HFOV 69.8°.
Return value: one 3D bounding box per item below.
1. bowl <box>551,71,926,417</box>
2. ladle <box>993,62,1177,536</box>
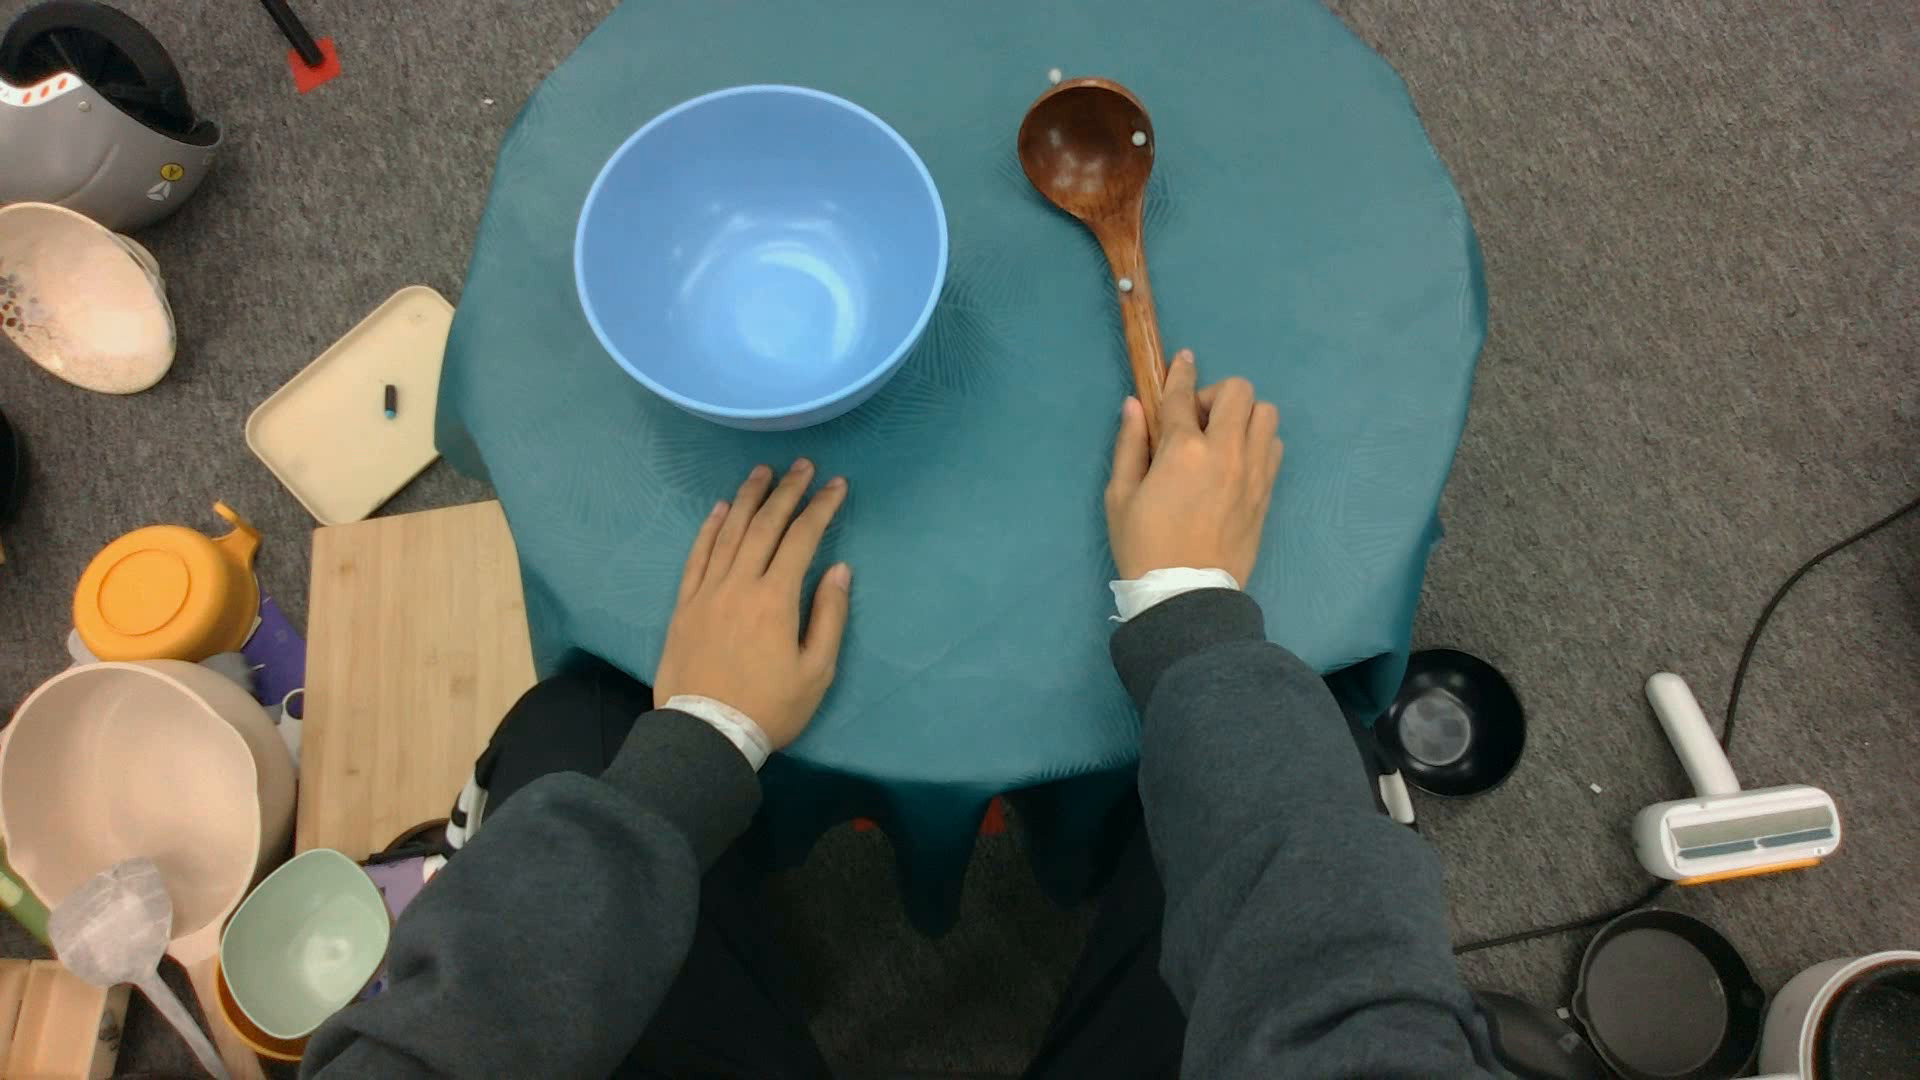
[{"bbox_3d":[-0.117,-0.149,0.767,0.196,0.095,0.197,0,73,-1],"label":"bowl"},{"bbox_3d":[0.077,-0.140,0.777,0.081,0.077,0.274,-18,71,31],"label":"ladle"}]
